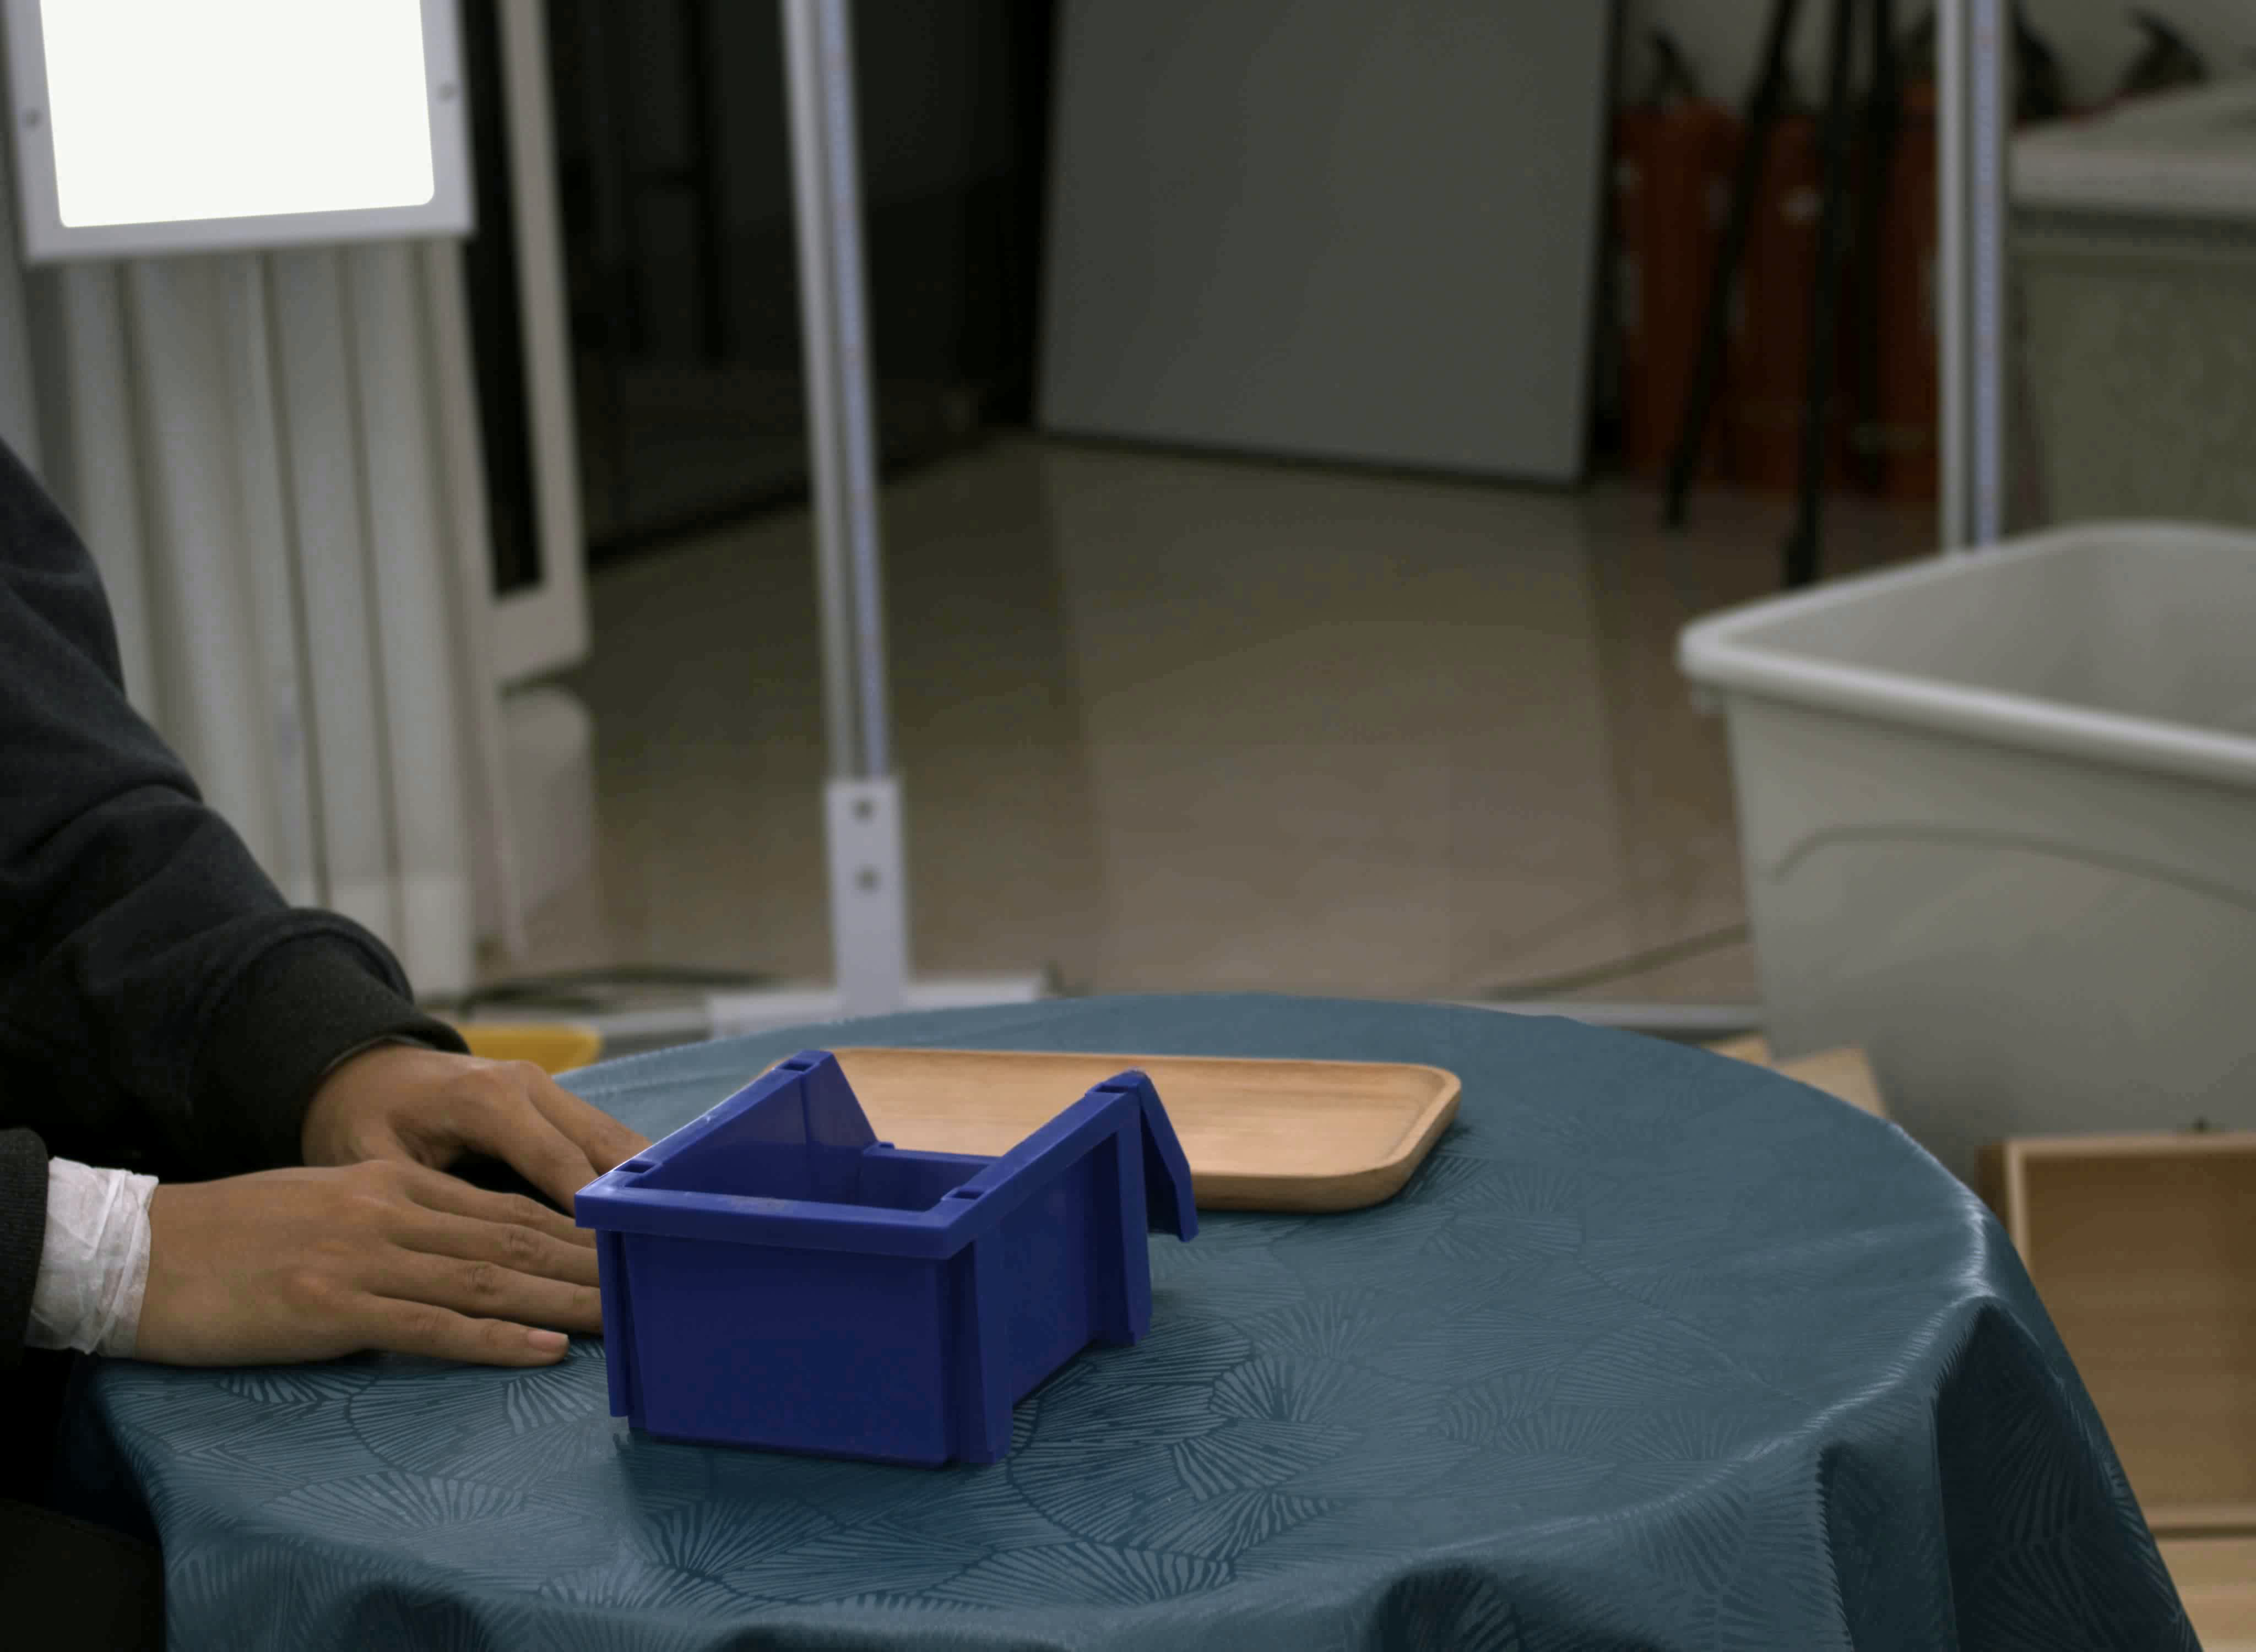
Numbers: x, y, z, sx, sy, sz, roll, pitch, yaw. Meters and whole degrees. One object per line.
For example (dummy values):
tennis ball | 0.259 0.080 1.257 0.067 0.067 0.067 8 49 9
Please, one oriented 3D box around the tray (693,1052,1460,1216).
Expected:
tray | -0.017 0.103 1.813 0.250 0.023 0.129 0 12 19

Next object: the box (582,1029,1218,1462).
box | -0.066 0.120 1.616 0.125 0.083 0.177 3 18 26
